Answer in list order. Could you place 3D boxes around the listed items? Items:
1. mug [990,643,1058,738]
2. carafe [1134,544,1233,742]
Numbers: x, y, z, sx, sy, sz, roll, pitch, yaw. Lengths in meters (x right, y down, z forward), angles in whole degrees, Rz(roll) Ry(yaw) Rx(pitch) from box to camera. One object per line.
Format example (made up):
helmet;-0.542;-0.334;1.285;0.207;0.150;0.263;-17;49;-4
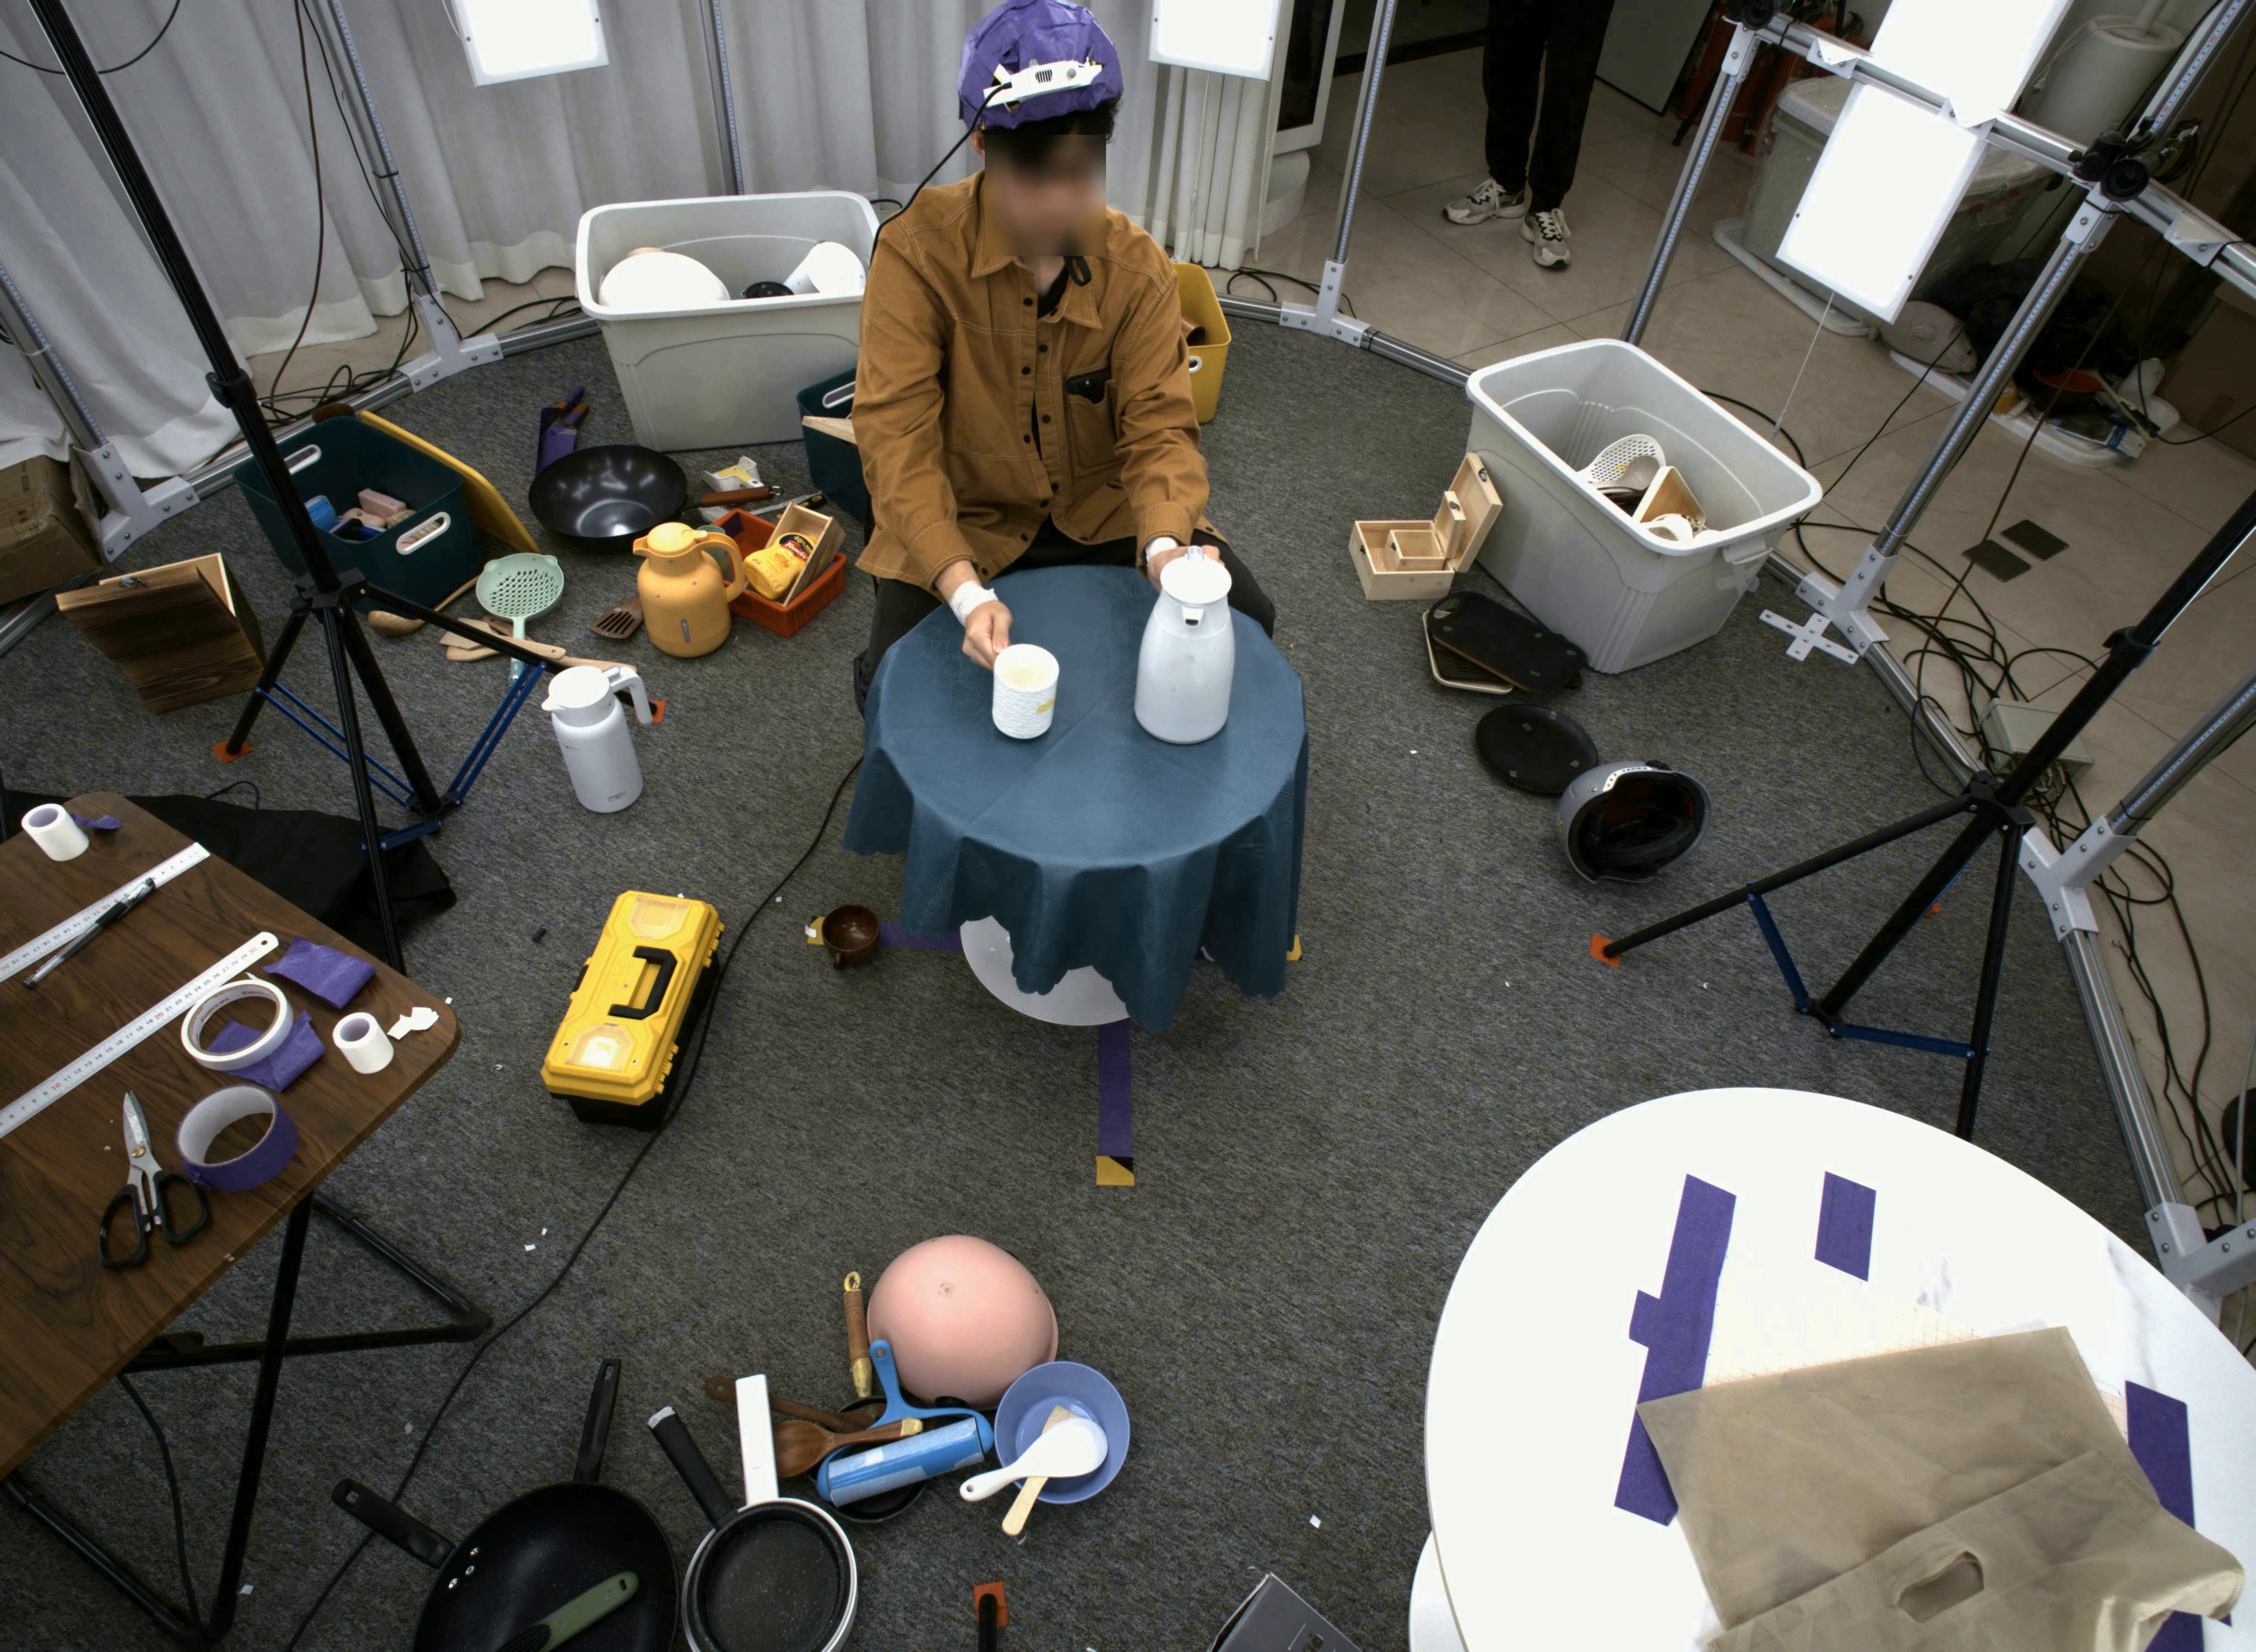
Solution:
mug;-0.151;-0.192;1.747;0.085;0.099;0.120;-27;60;-27
carafe;0.079;-0.258;1.732;0.132;0.242;0.172;4;49;1
